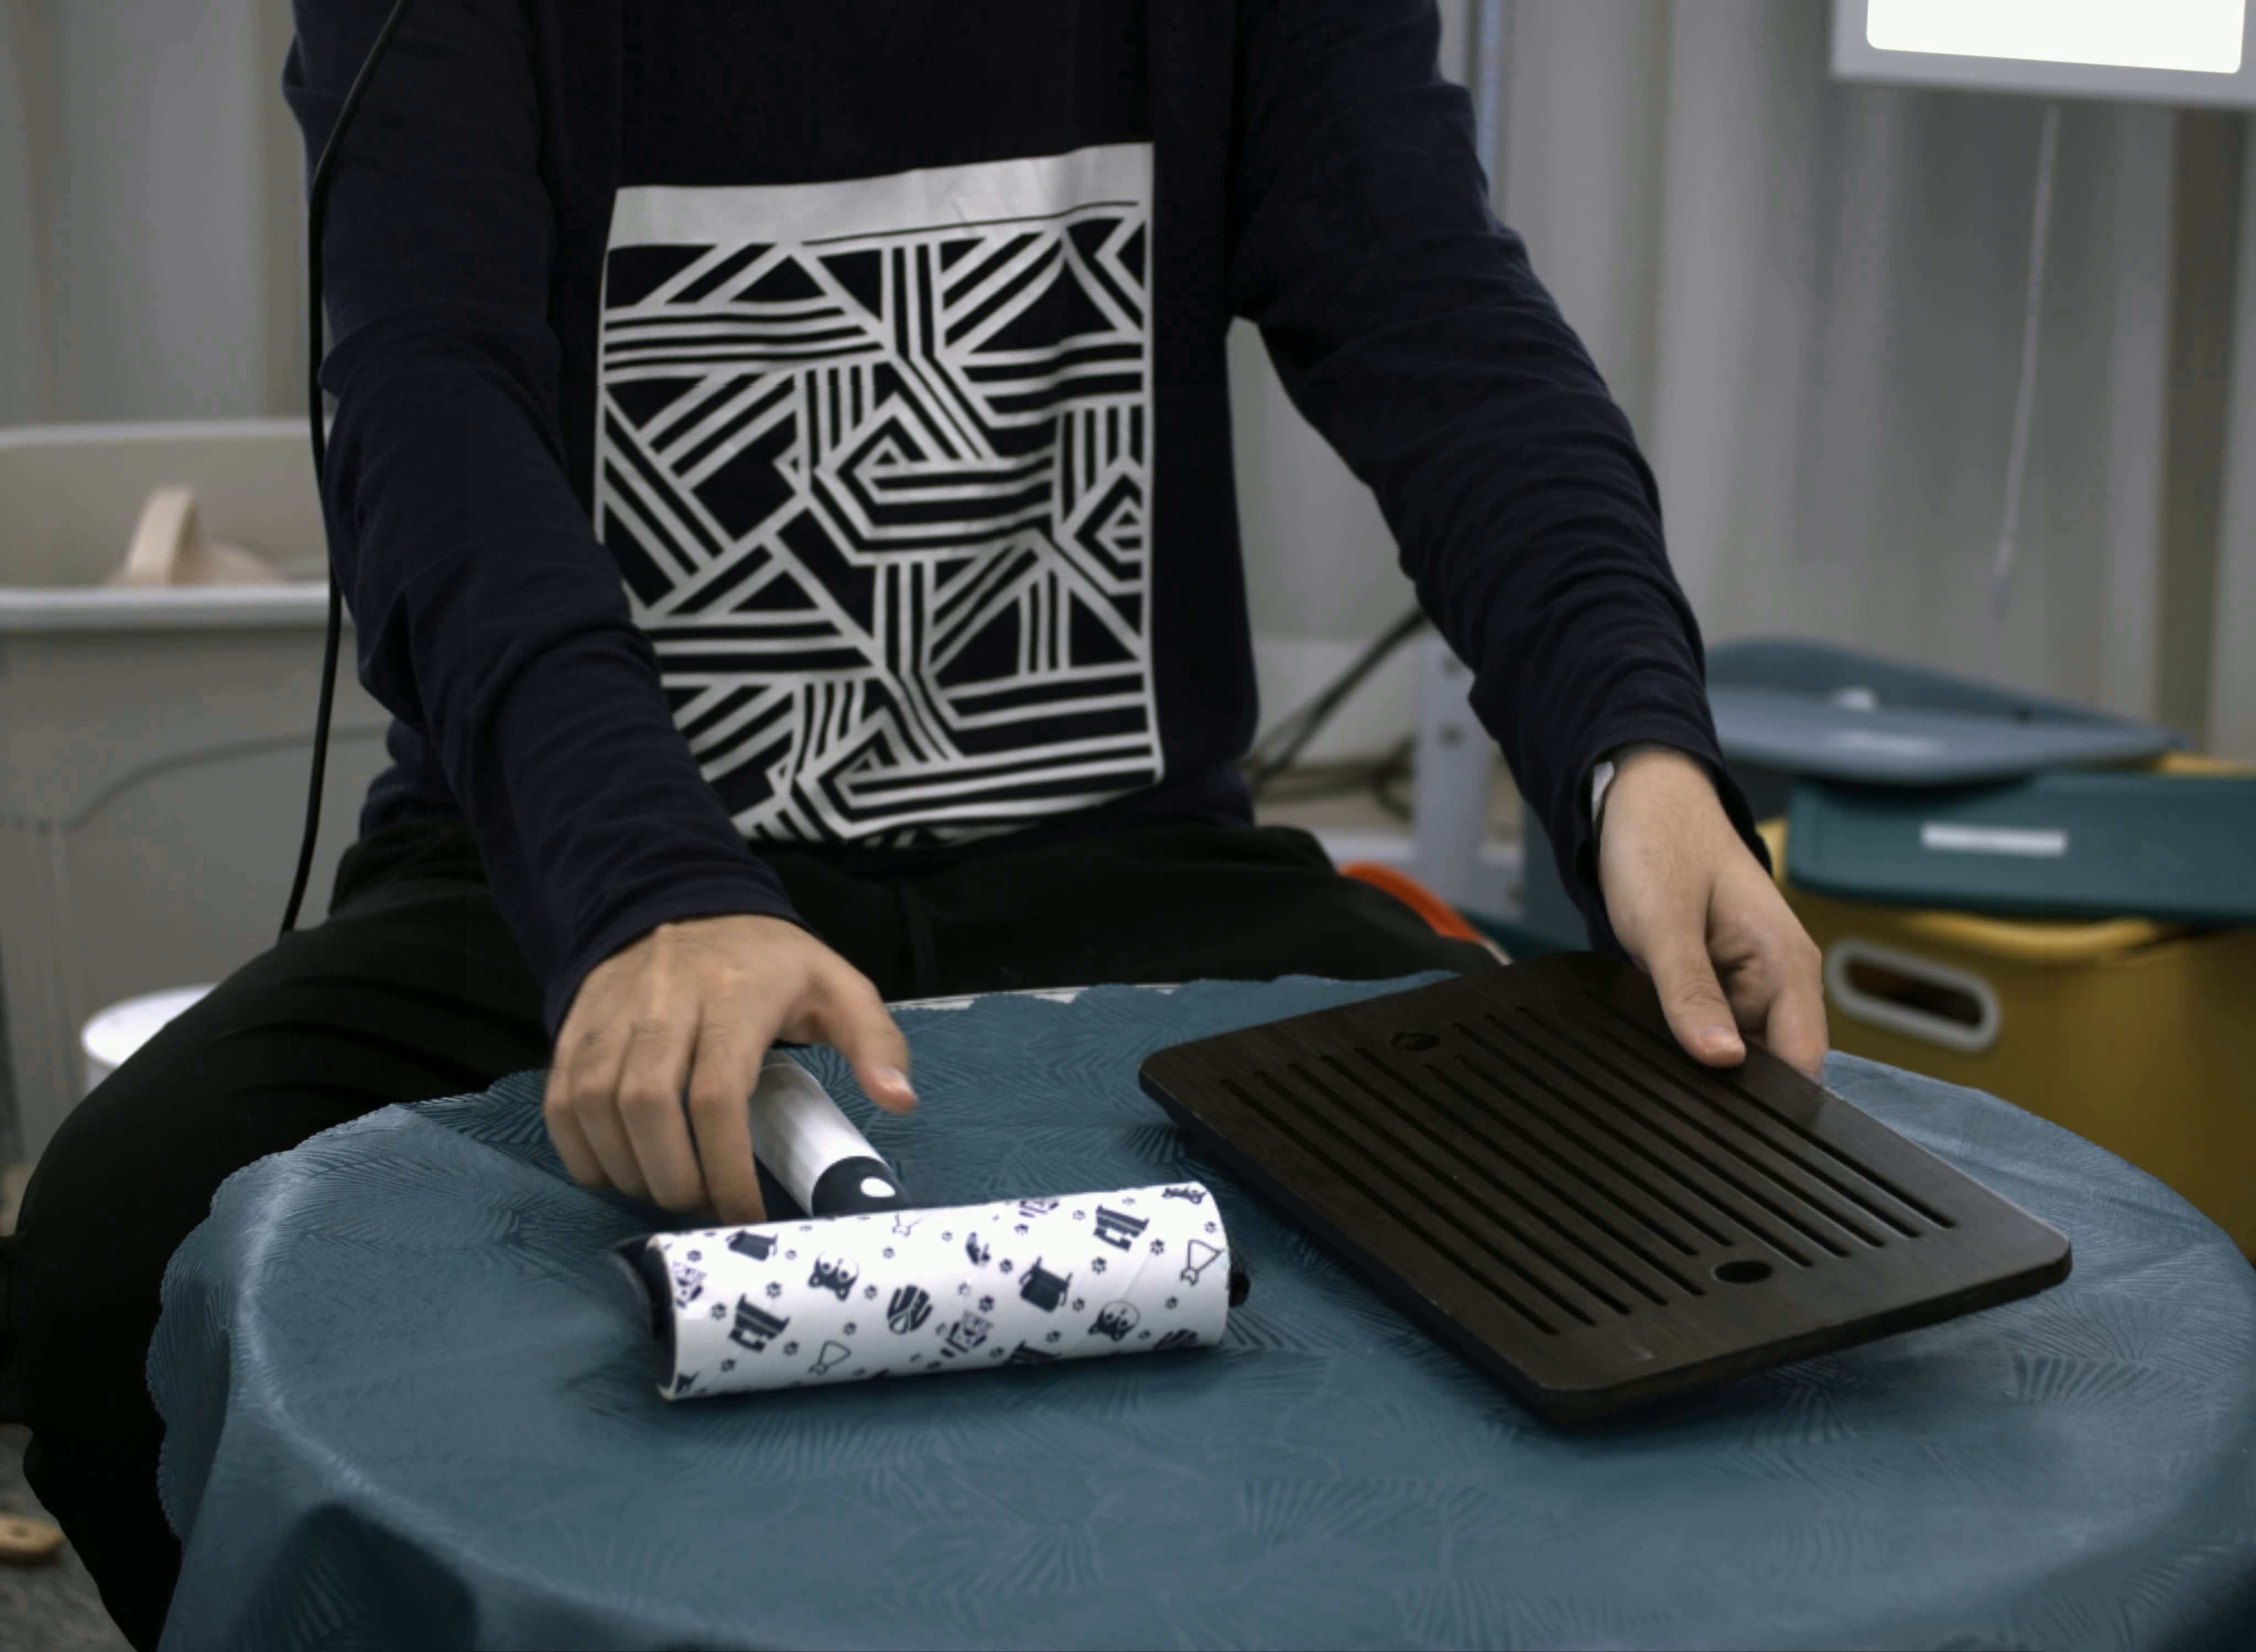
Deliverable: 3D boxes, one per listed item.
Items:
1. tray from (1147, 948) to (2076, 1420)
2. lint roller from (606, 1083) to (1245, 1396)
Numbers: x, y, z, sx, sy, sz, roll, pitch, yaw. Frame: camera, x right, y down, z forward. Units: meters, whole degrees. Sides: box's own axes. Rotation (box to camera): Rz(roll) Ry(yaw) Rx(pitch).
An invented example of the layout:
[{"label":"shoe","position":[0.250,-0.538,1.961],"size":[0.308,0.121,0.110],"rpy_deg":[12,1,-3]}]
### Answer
[{"label":"tray","position":[0.137,0.103,1.584],"size":[0.170,0.019,0.302],"rpy_deg":[-14,20,-19]},{"label":"lint roller","position":[-0.085,0.108,1.565],"size":[0.176,0.051,0.244],"rpy_deg":[-5,13,-17]}]
